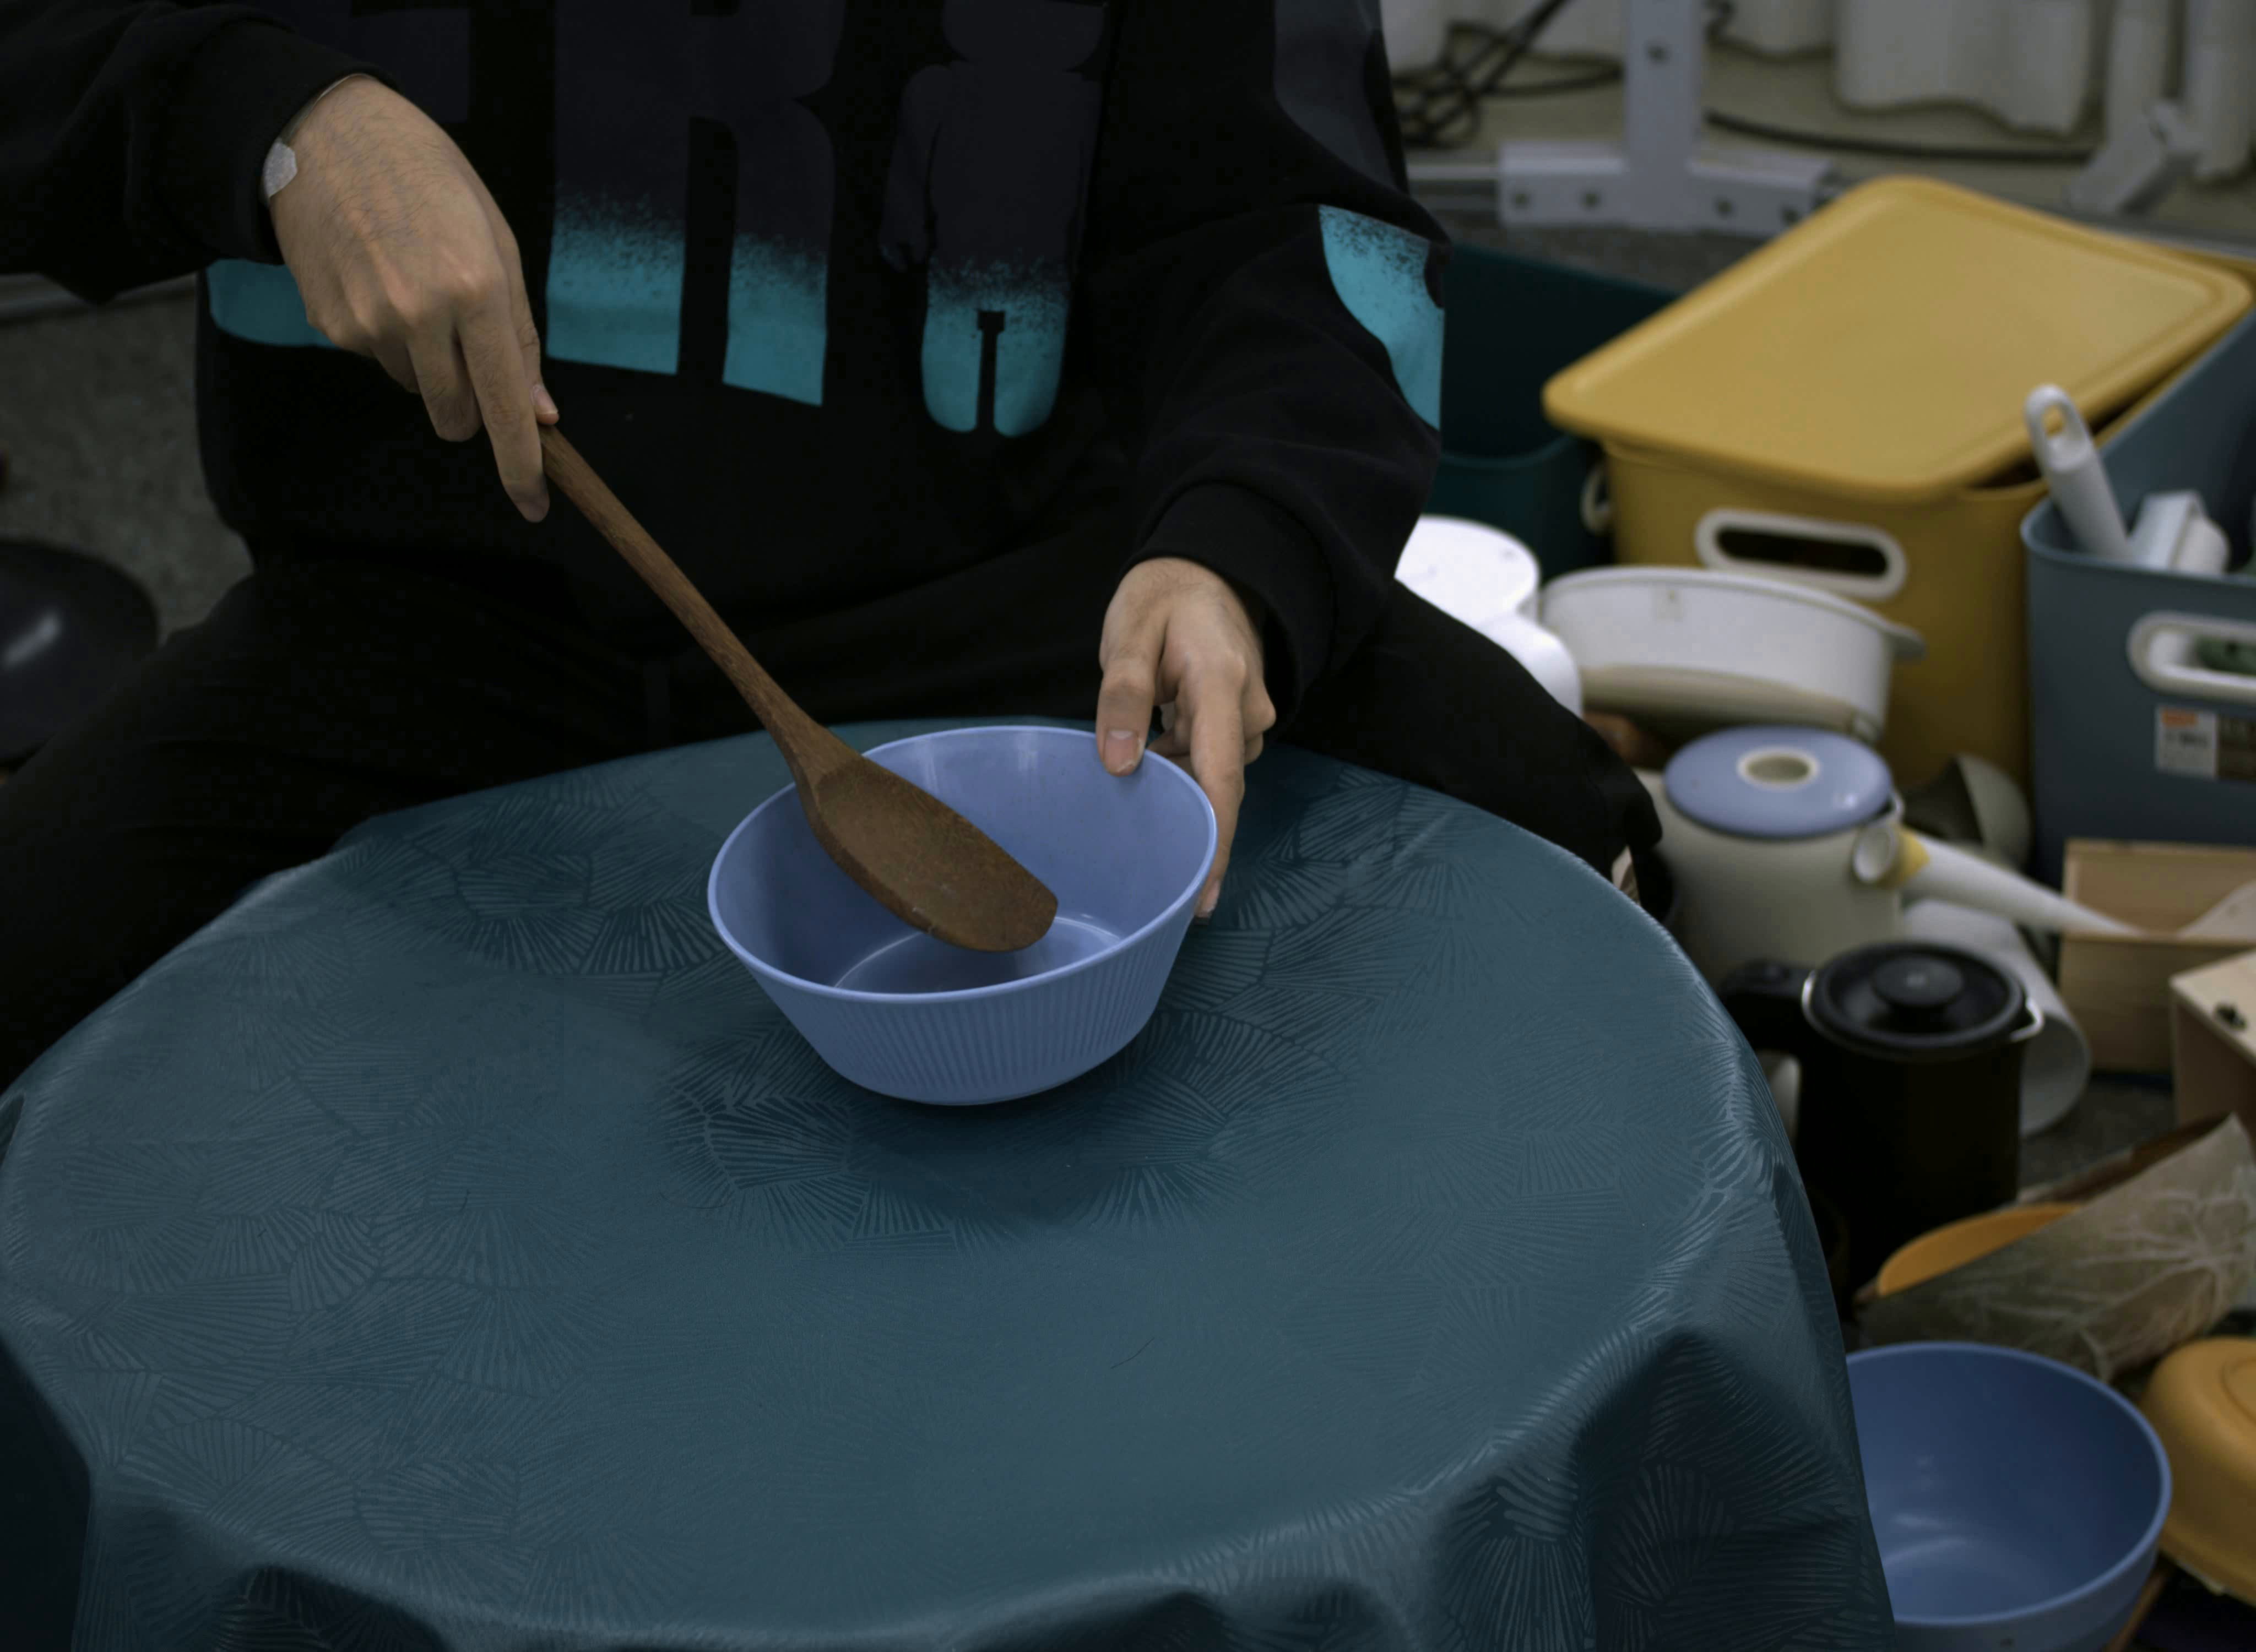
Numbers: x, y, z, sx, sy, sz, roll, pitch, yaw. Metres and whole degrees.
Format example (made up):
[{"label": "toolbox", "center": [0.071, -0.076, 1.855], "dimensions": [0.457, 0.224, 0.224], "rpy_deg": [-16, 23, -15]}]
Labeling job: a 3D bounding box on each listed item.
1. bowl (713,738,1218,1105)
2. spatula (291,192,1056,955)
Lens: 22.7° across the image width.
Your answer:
[{"label": "bowl", "center": [-0.052, 0.039, 1.933], "dimensions": [0.175, 0.069, 0.179], "rpy_deg": [-5, 28, 3]}, {"label": "spatula", "center": [-0.167, -0.092, 1.979], "dimensions": [0.387, 0.015, 0.097], "rpy_deg": [47, 22, 14]}]
